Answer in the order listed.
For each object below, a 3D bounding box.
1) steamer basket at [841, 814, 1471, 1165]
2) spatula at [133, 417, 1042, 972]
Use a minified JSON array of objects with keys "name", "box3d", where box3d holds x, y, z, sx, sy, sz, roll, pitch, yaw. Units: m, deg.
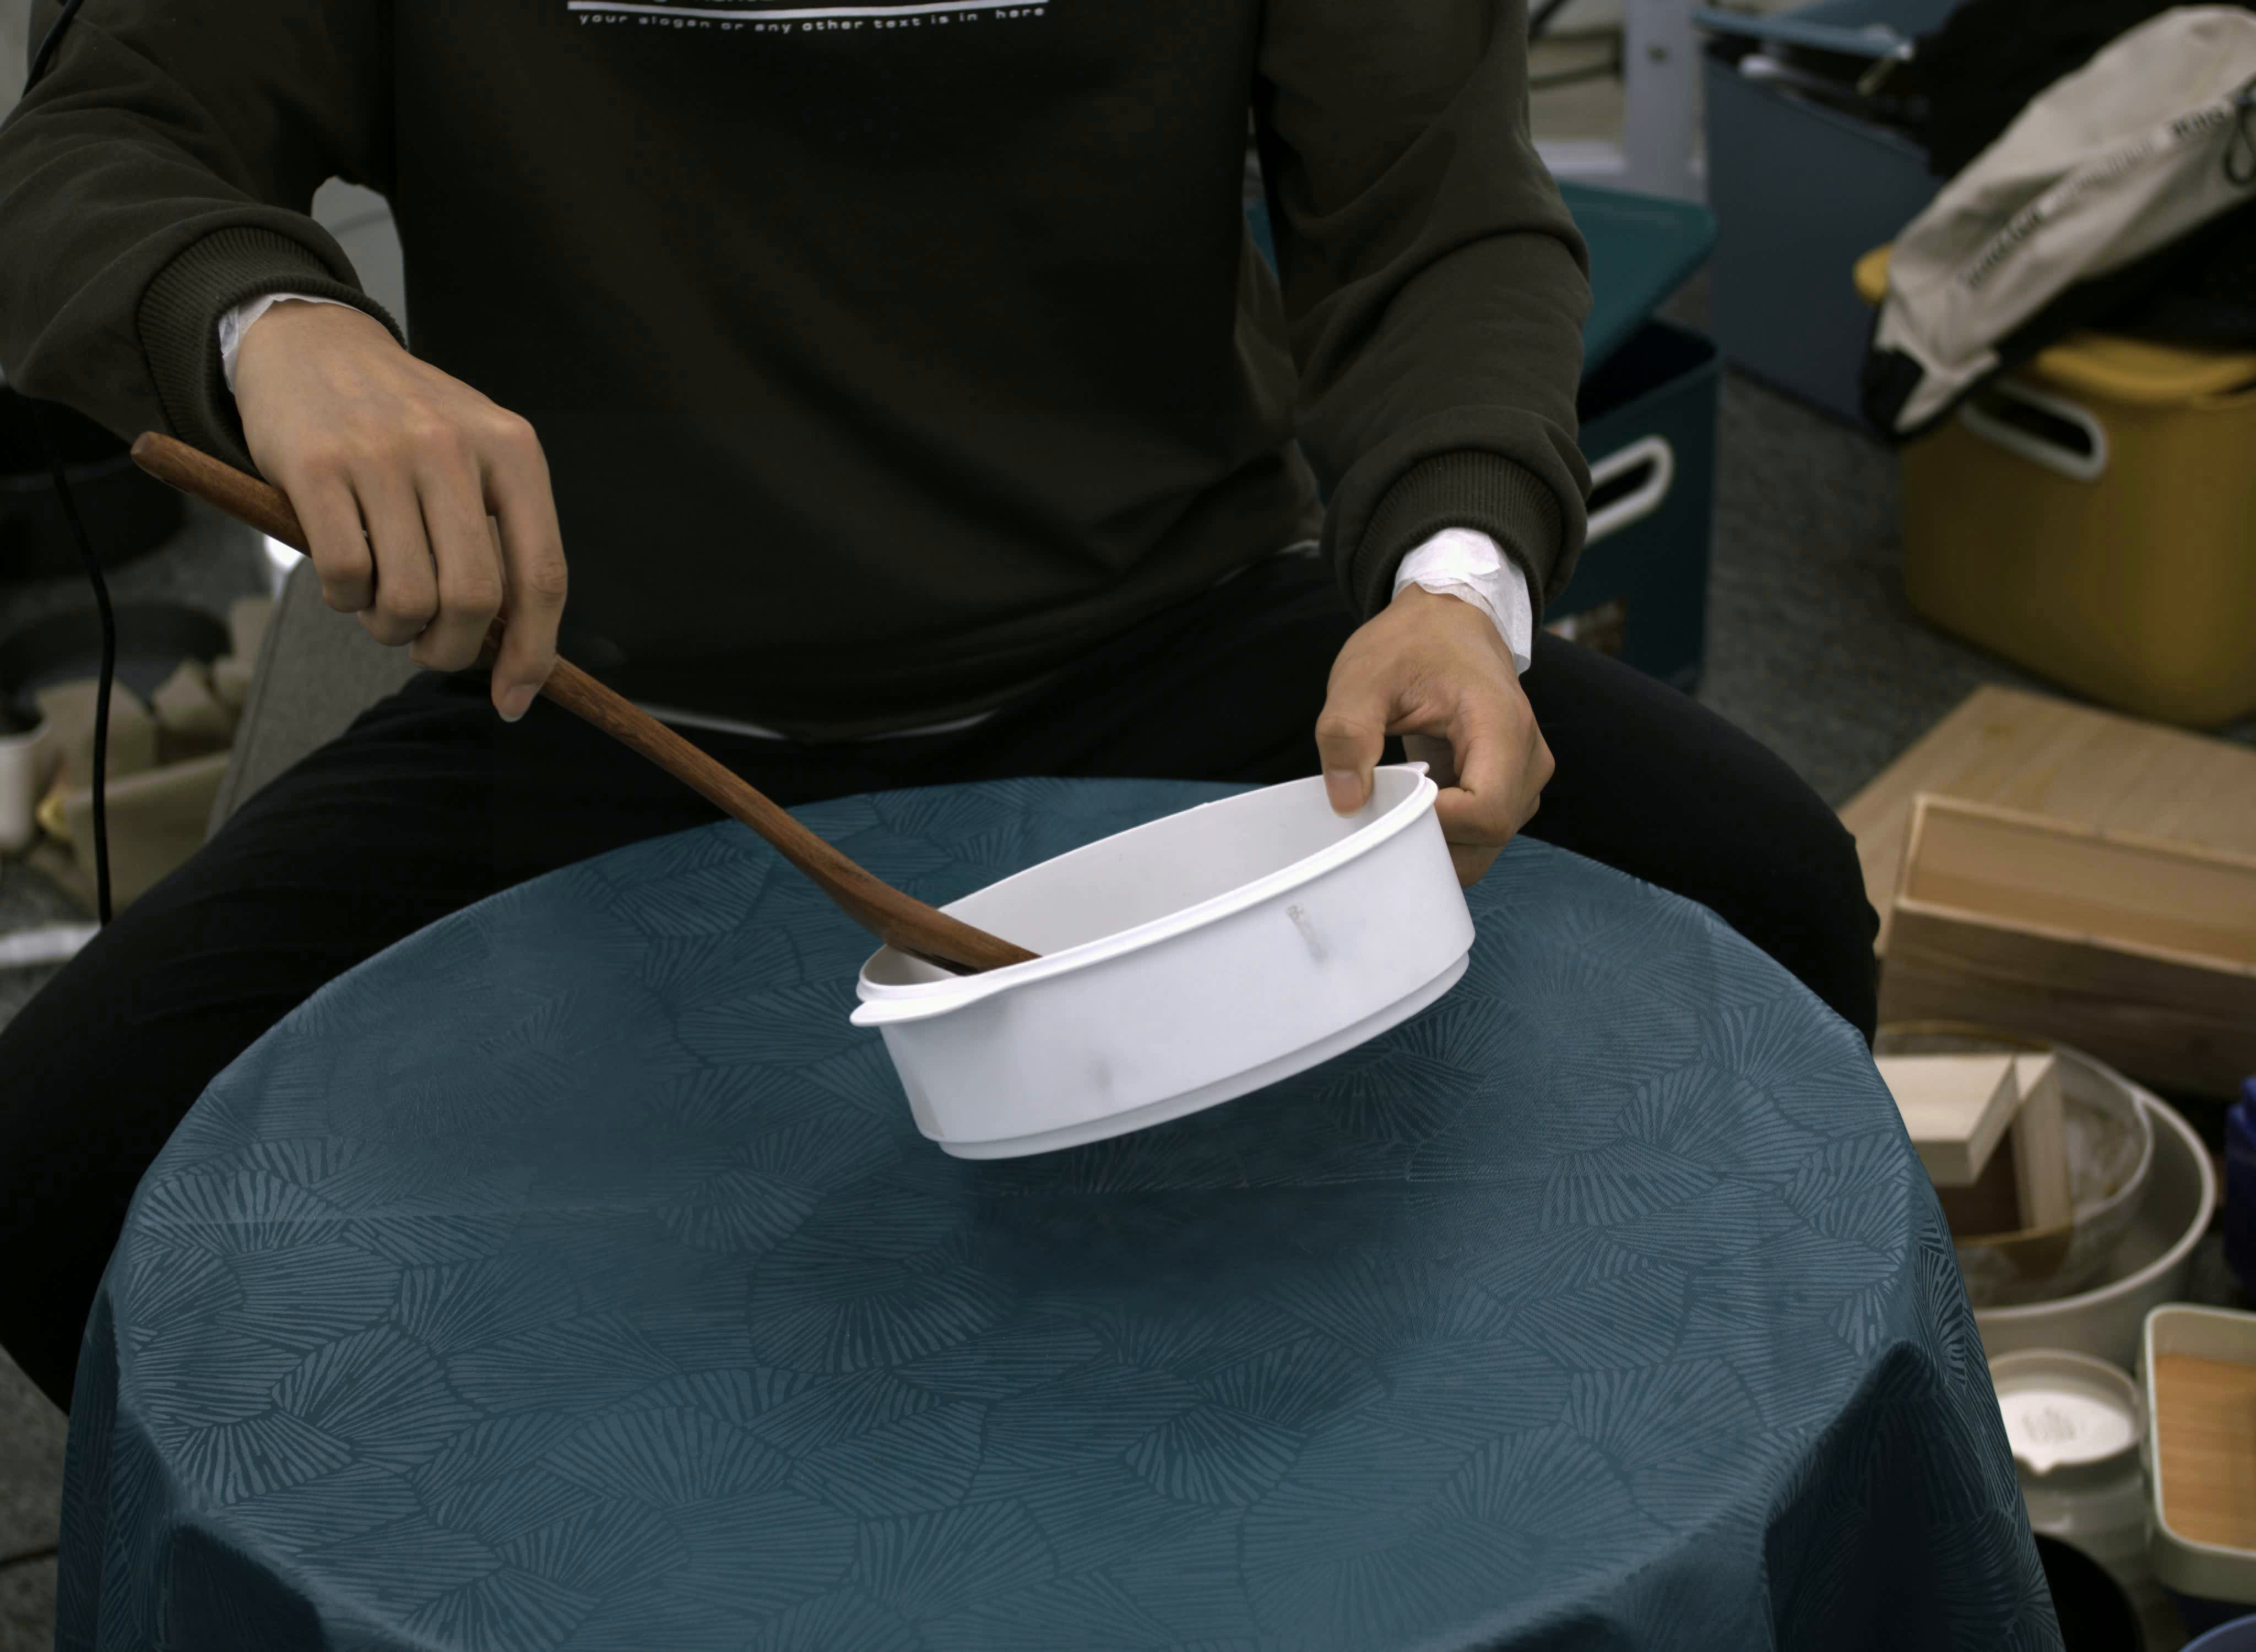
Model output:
[{"name":"steamer basket","box3d":[0.013,0.054,1.831,0.233,0.069,0.199,-19,7,-39]},{"name":"spatula","box3d":[-0.152,-0.024,1.809,0.384,0.024,0.085,33,-12,-14]}]
